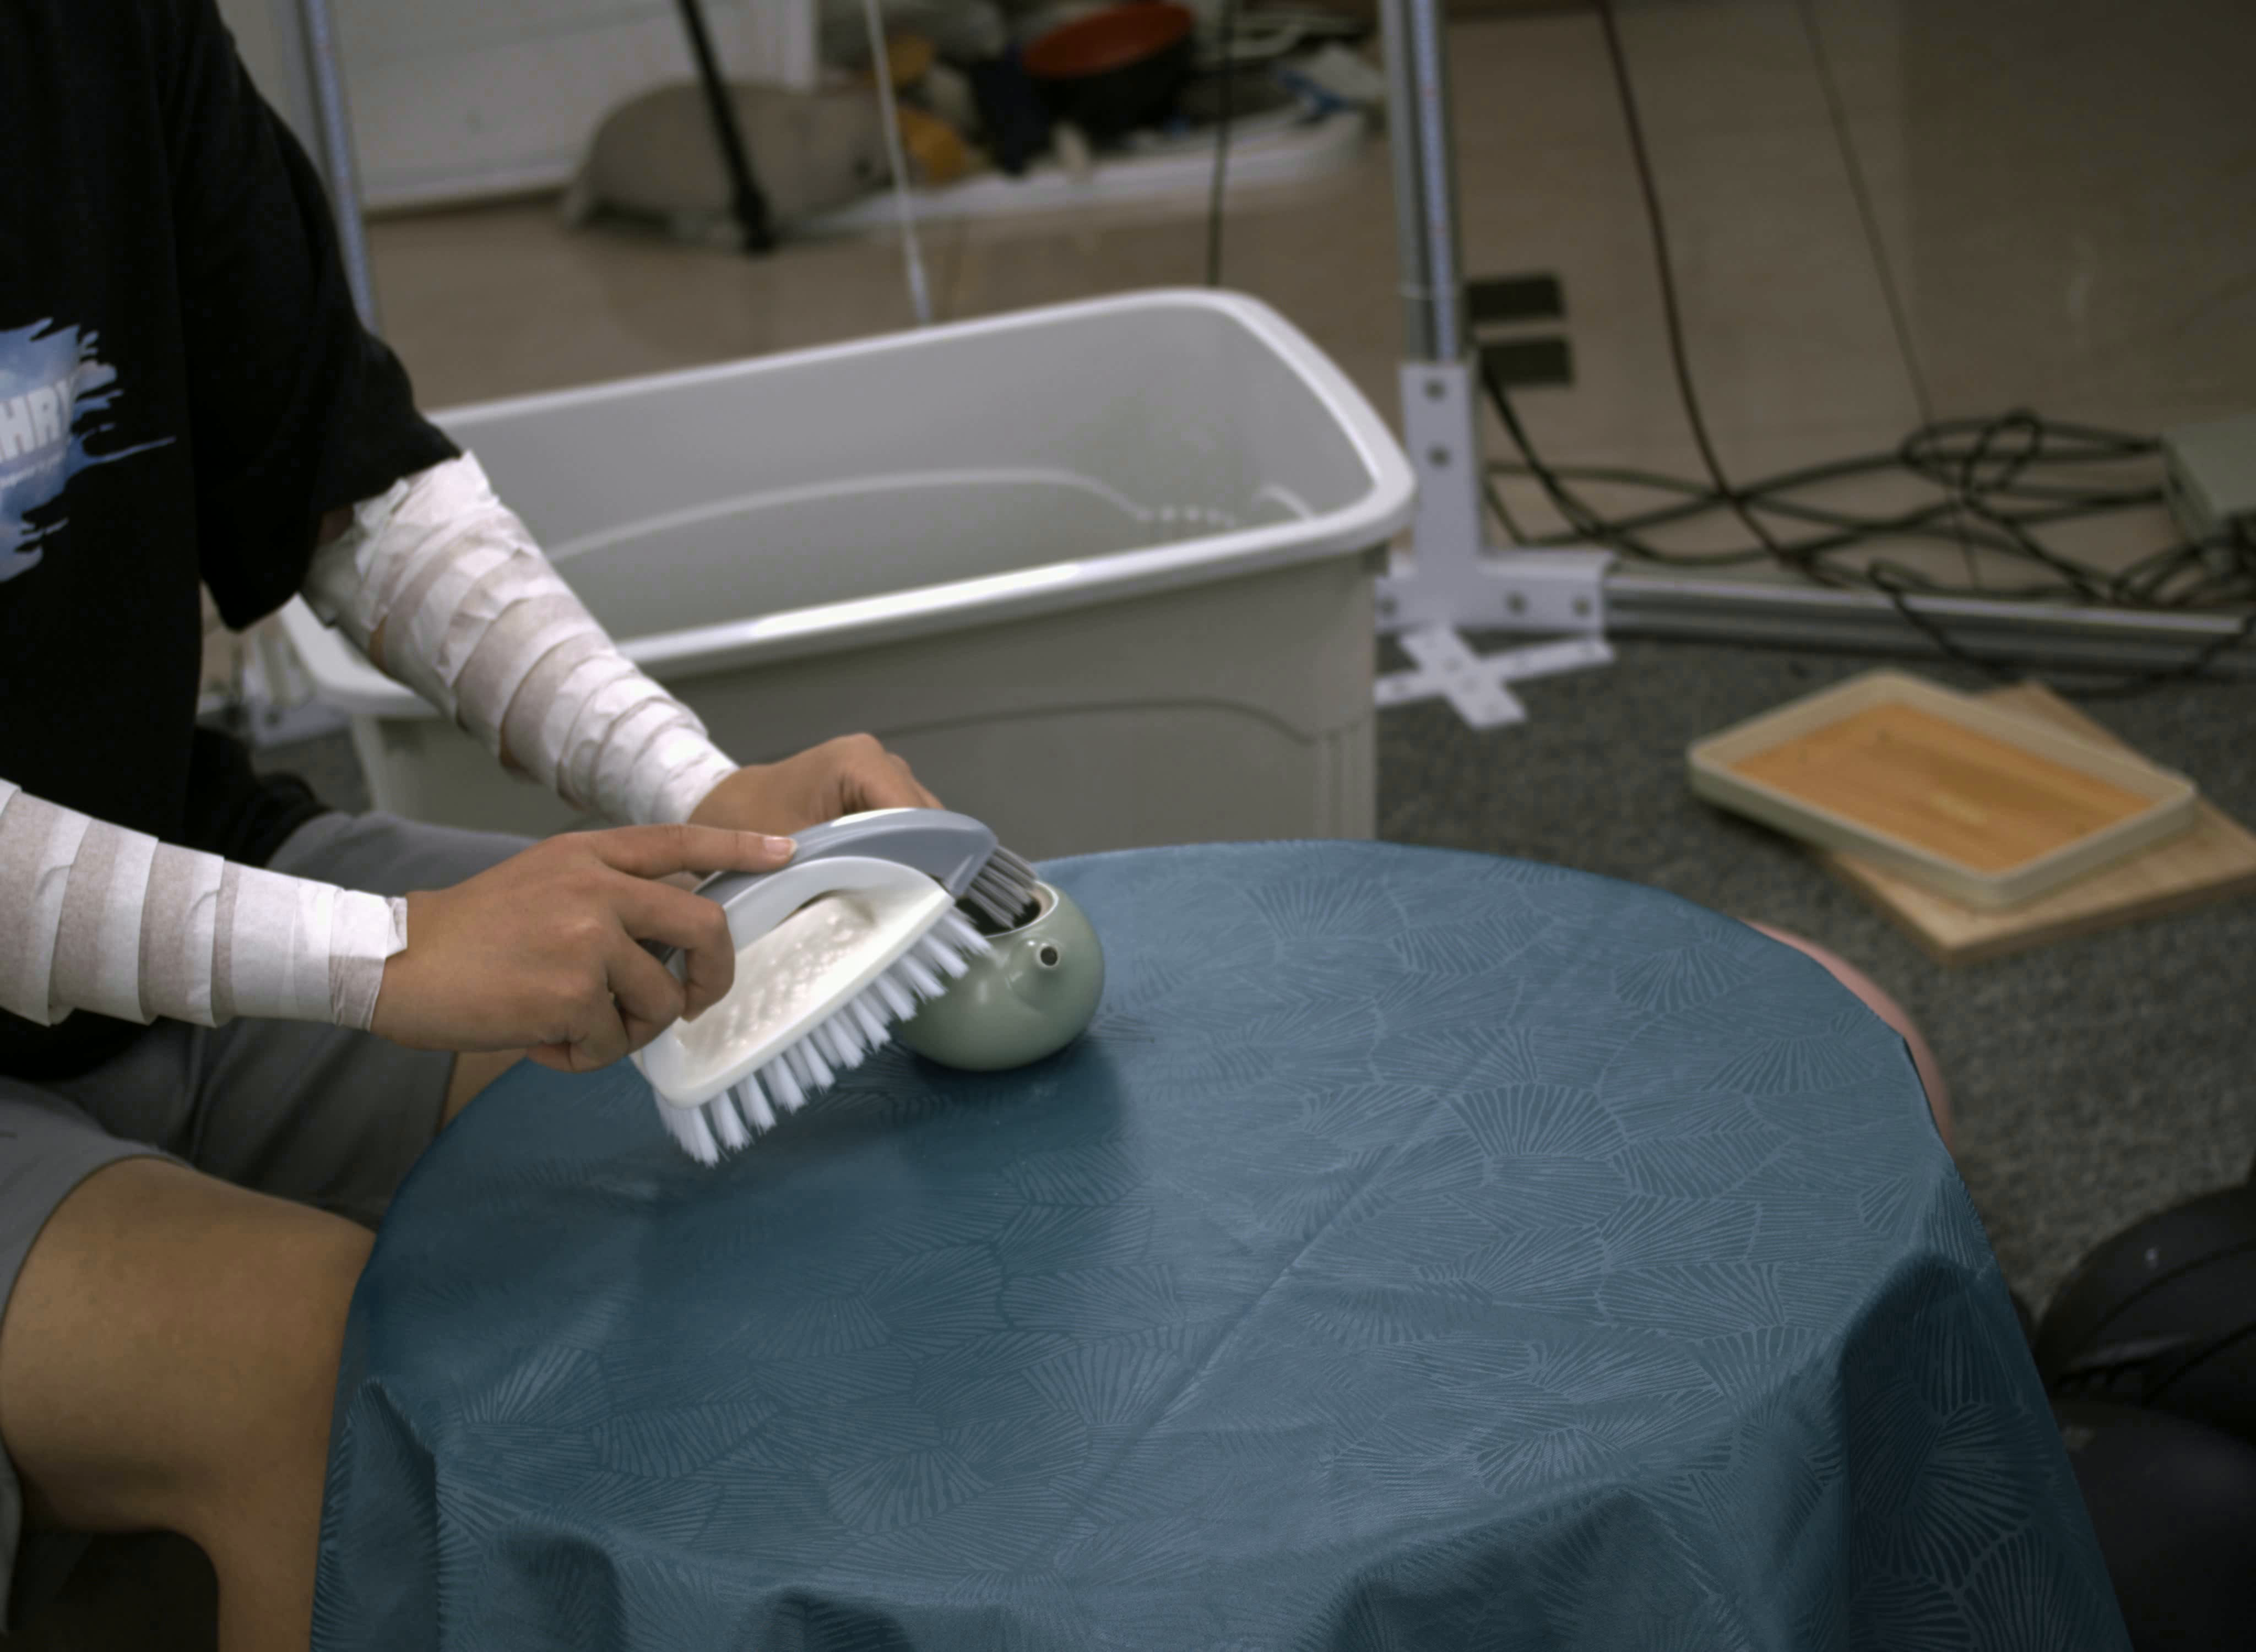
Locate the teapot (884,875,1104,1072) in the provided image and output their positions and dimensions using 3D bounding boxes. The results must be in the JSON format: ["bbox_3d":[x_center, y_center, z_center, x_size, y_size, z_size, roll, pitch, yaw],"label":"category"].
[{"bbox_3d":[-0.059,0.056,2.269,0.091,0.062,0.127,-19,27,-21],"label":"teapot"}]

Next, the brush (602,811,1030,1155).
[{"bbox_3d":[-0.124,0.042,2.188,0.175,0.096,0.060,-33,40,-8],"label":"brush"}]
